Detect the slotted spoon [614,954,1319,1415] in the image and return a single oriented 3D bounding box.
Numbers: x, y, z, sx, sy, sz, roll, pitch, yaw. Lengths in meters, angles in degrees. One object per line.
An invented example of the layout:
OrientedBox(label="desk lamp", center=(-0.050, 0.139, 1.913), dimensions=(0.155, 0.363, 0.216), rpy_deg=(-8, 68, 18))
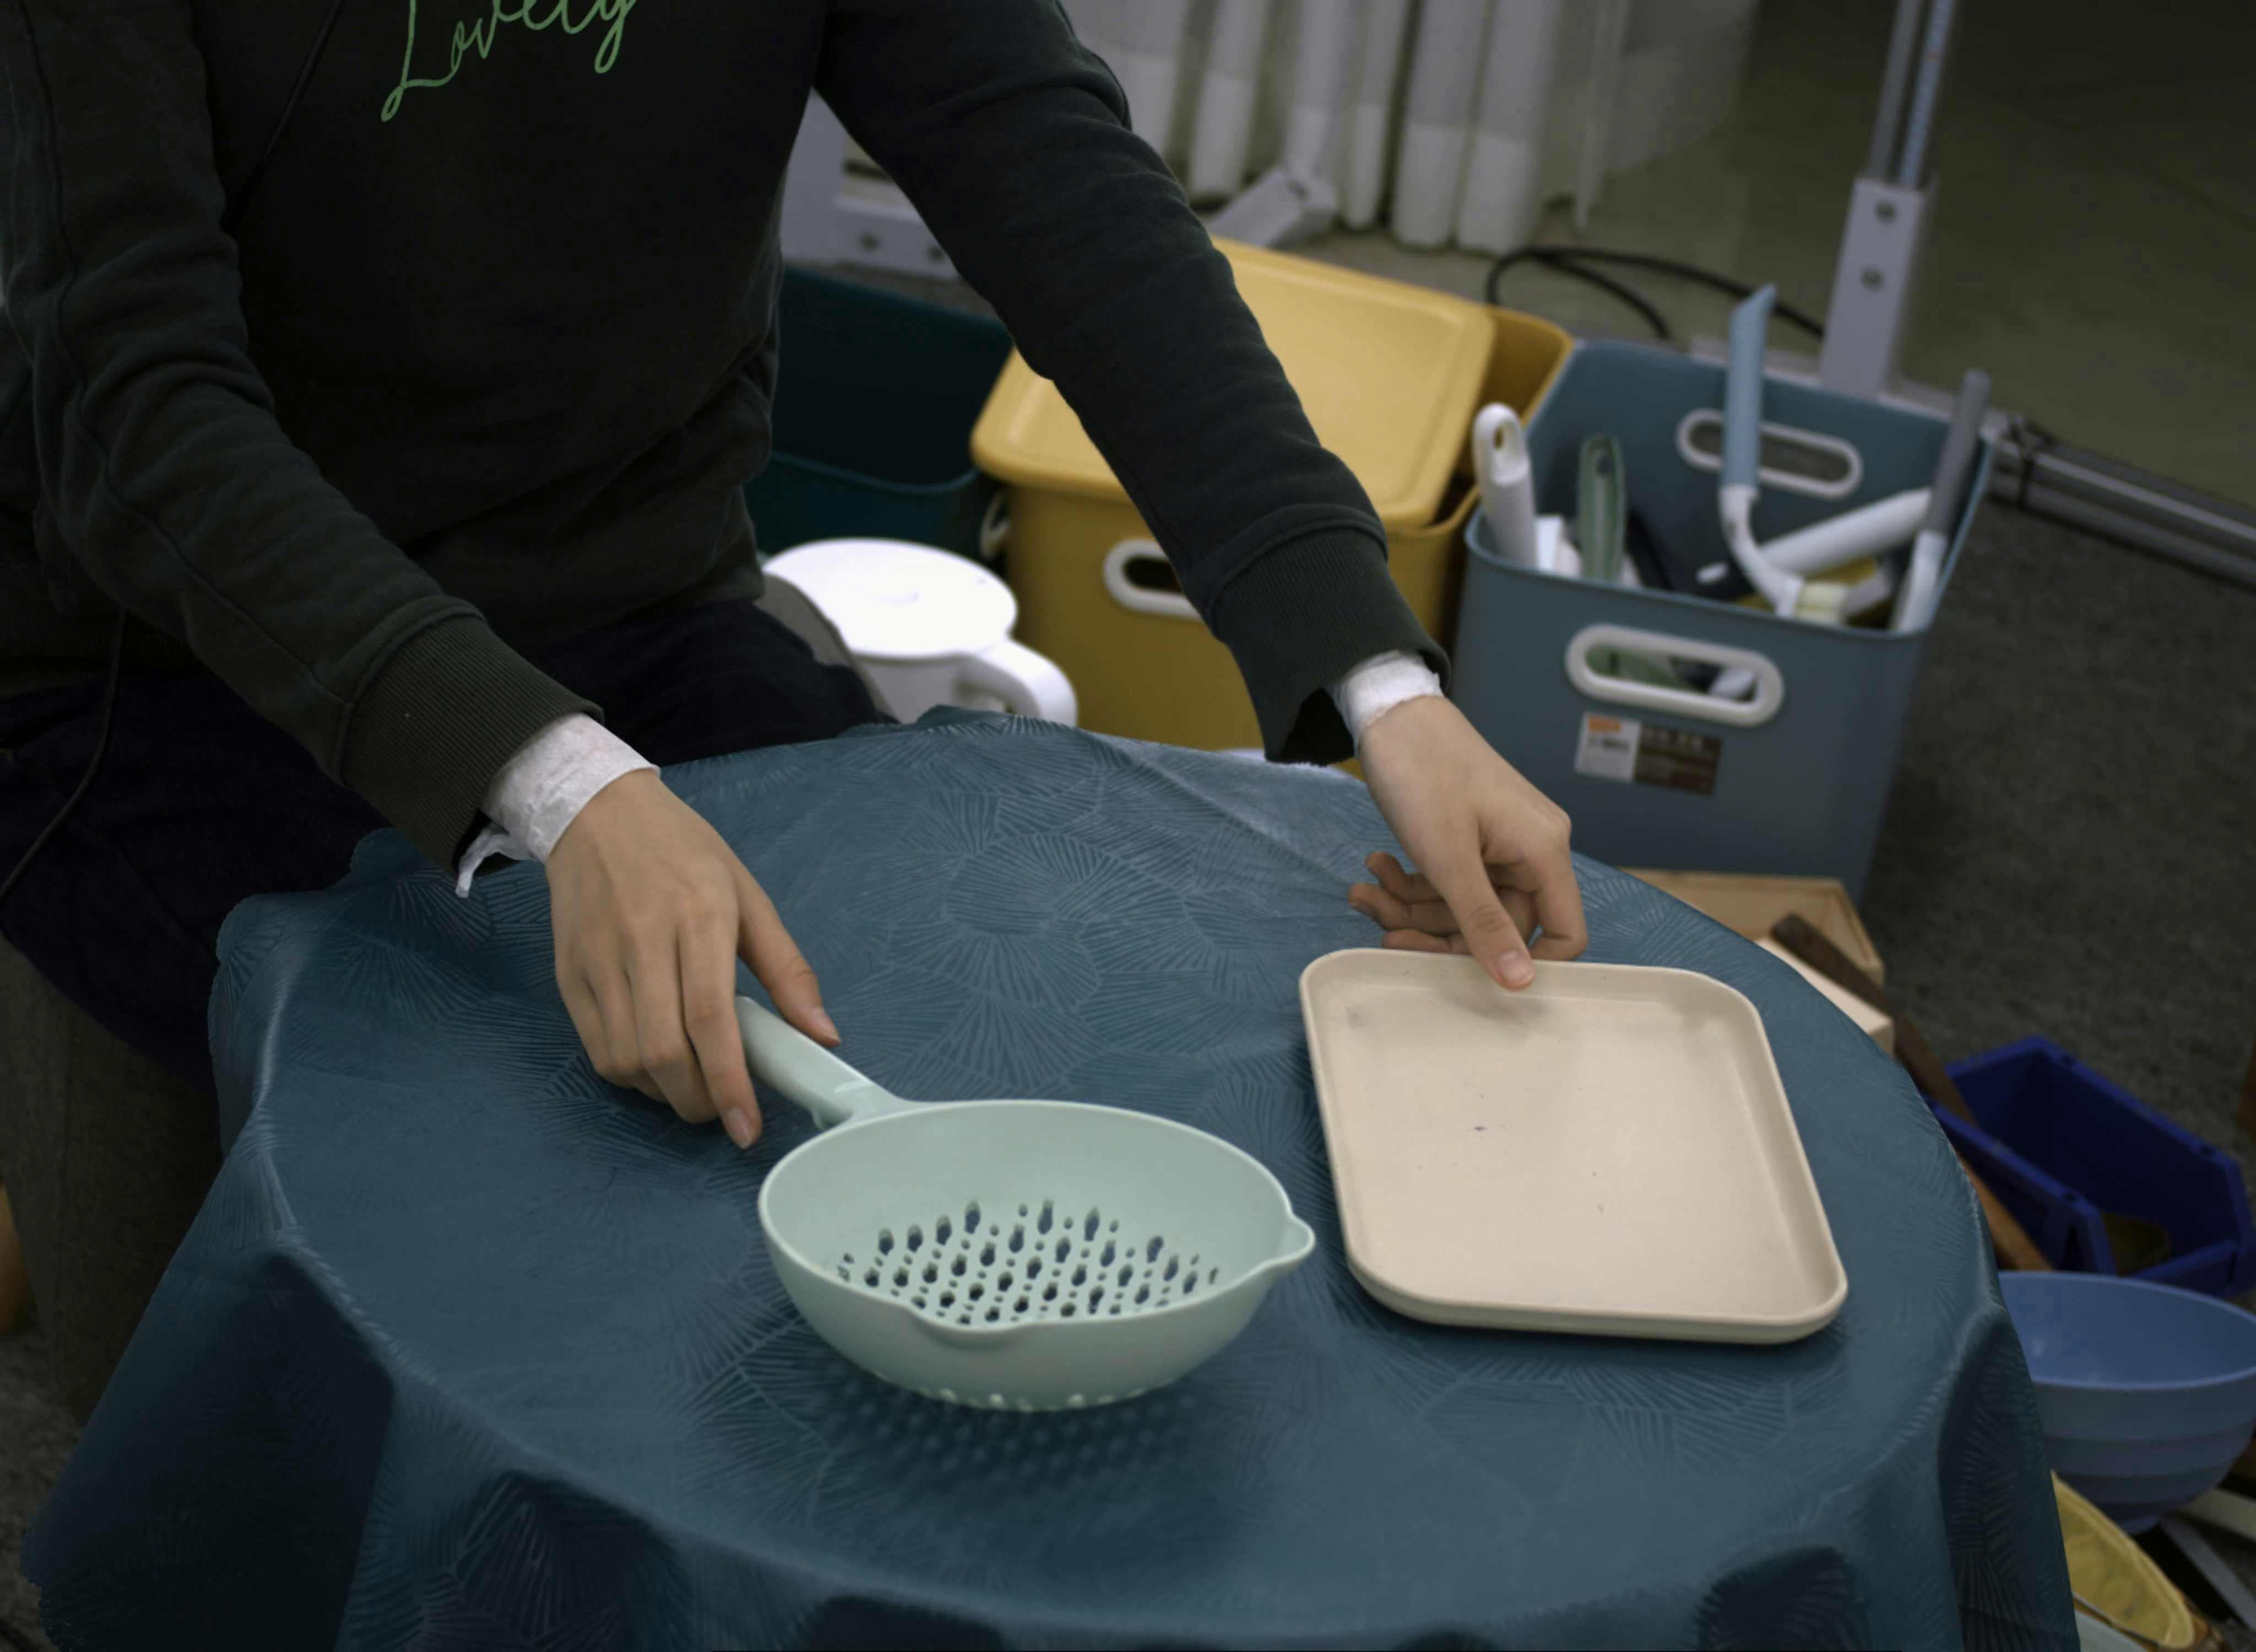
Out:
OrientedBox(label="slotted spoon", center=(-0.084, 0.102, 1.755), dimensions=(0.168, 0.075, 0.362), rpy_deg=(-9, 30, -30))

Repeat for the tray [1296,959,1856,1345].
OrientedBox(label="tray", center=(0.150, 0.112, 1.839), dimensions=(0.170, 0.017, 0.241), rpy_deg=(4, 26, -6))
